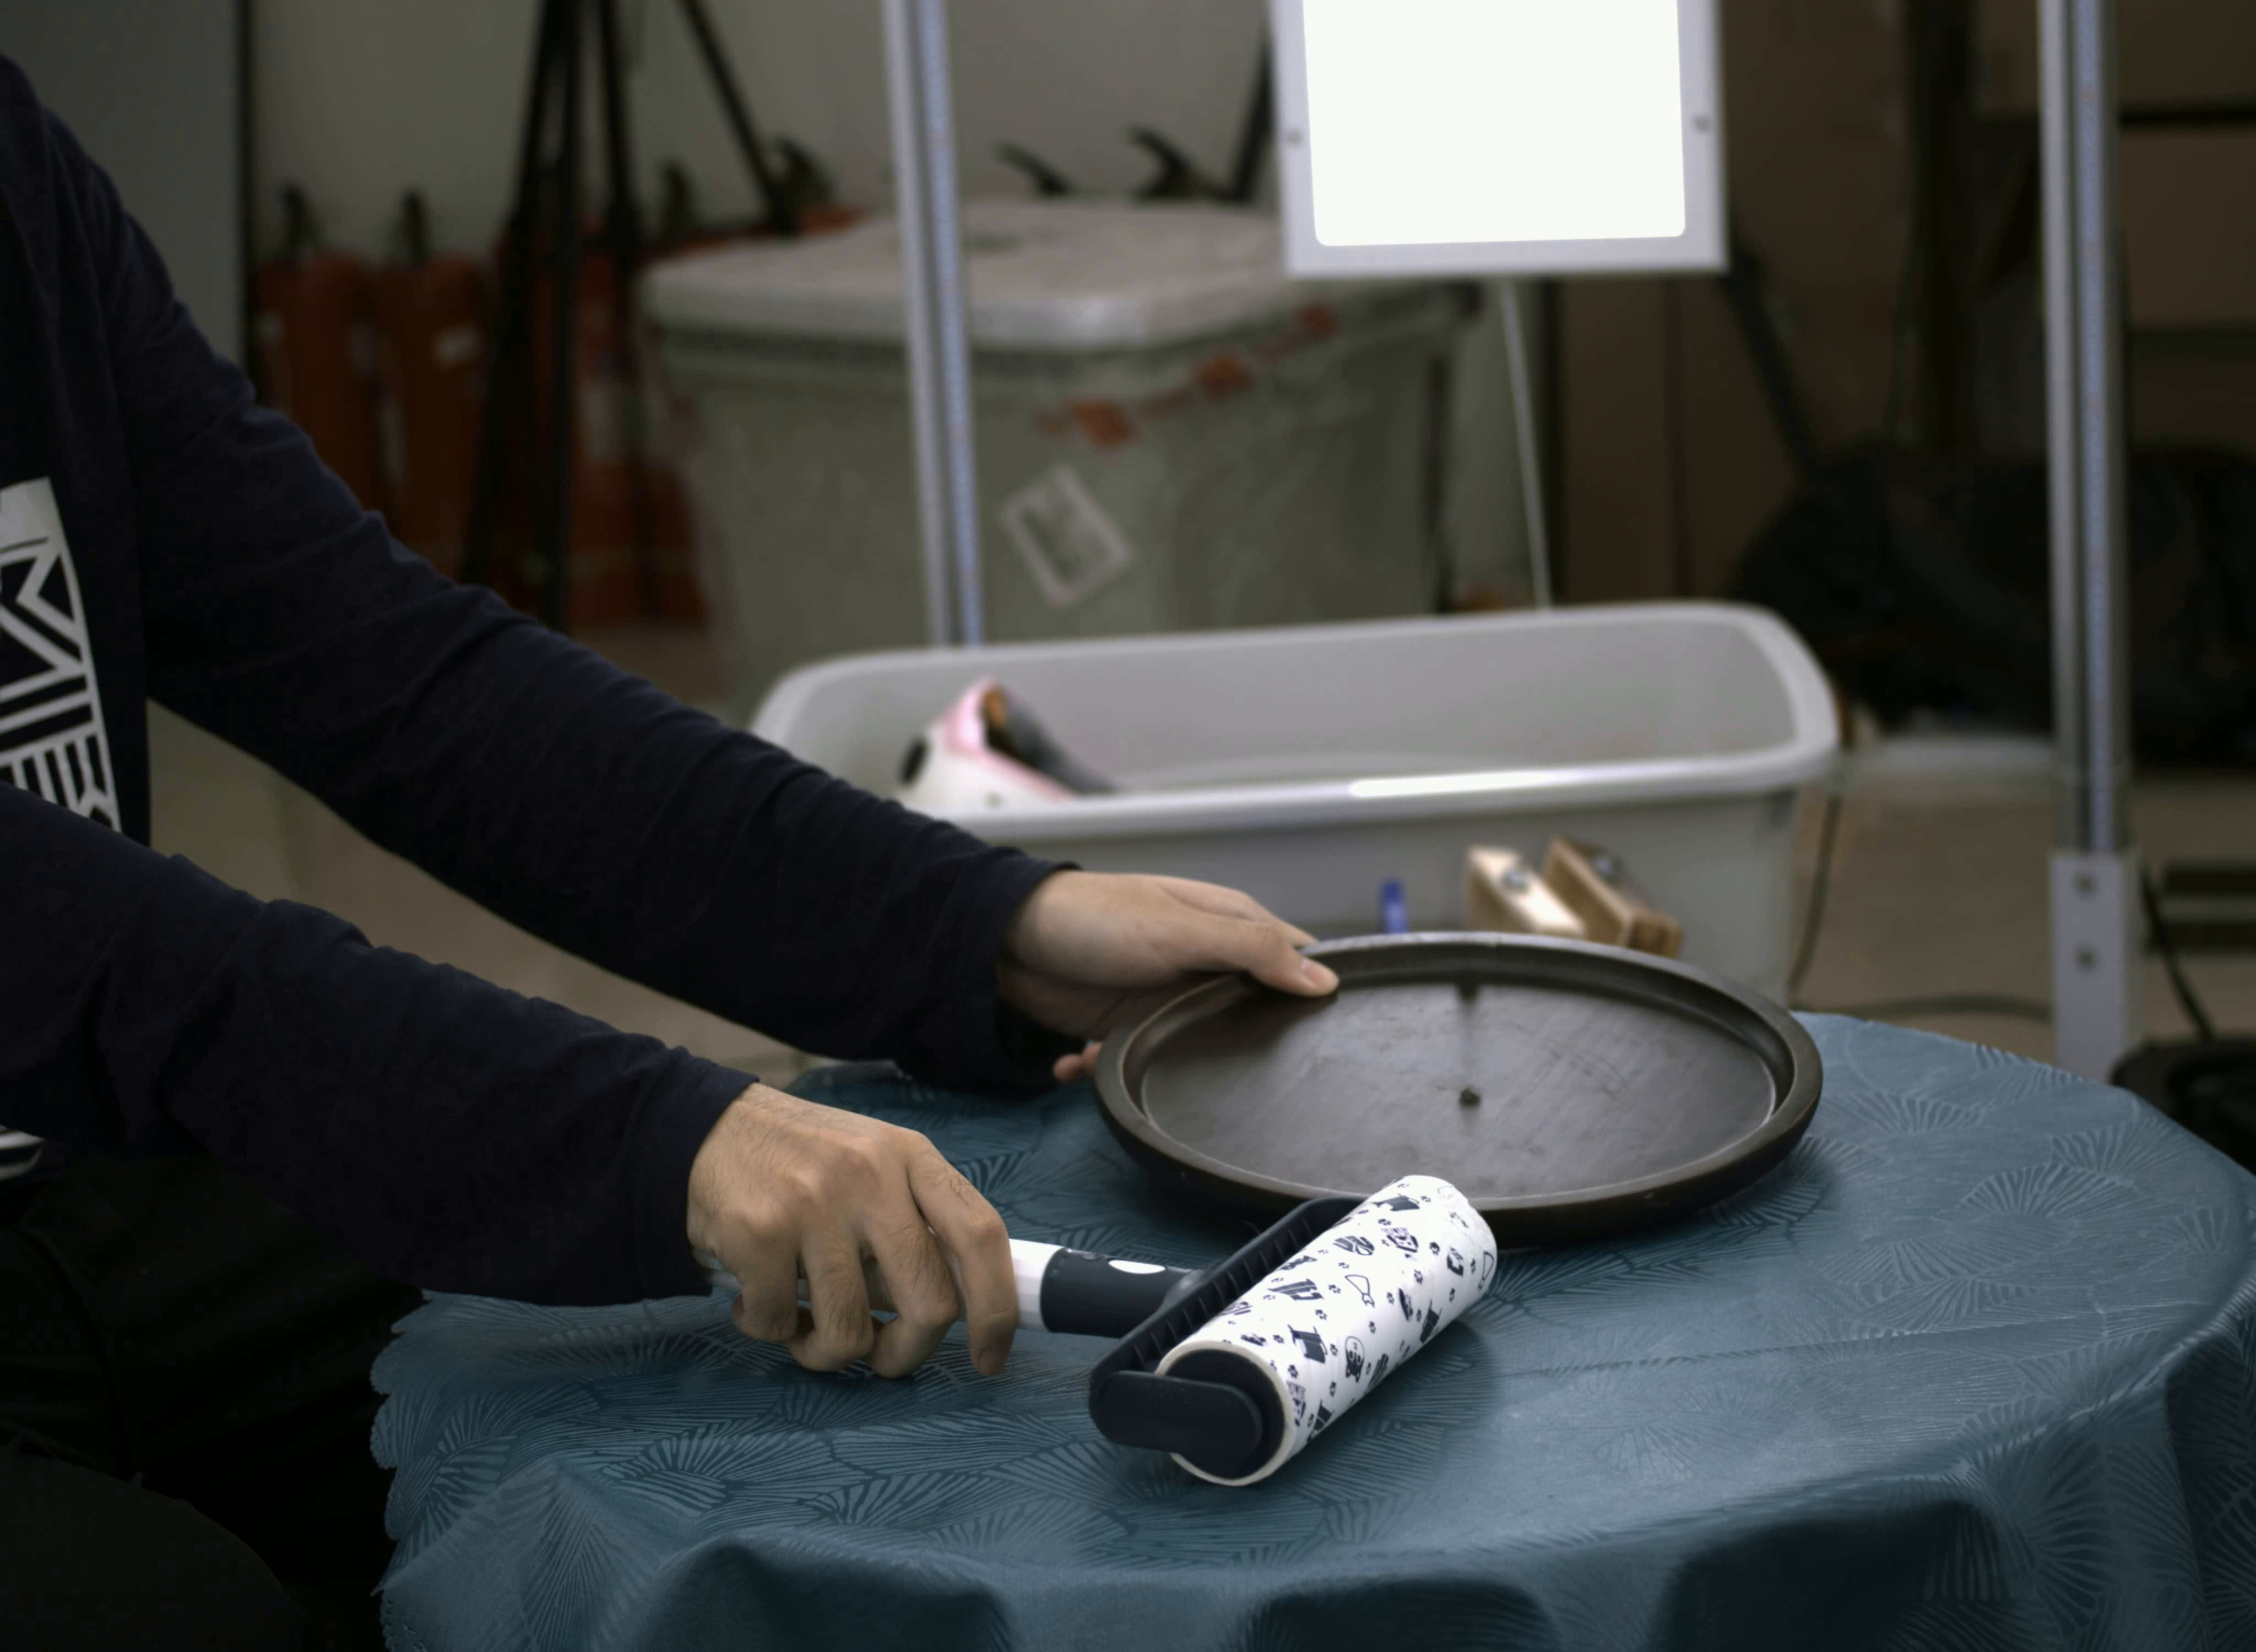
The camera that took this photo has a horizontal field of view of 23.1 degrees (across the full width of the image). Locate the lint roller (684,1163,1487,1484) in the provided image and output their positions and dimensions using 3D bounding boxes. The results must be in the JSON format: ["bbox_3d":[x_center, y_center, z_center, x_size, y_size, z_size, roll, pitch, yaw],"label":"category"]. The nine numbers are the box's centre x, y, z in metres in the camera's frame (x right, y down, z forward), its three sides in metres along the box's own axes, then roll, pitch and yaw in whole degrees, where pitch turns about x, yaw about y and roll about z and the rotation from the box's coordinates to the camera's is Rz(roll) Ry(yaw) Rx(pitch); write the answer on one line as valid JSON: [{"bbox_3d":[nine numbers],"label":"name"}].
[{"bbox_3d":[-0.031,0.143,1.722,0.251,0.050,0.172,5,18,26],"label":"lint roller"}]

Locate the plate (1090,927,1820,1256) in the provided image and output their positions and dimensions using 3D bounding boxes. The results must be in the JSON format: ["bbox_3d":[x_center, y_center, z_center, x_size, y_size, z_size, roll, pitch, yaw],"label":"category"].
[{"bbox_3d":[0.114,0.090,1.907,0.254,0.029,0.254,-4,19,0],"label":"plate"}]
